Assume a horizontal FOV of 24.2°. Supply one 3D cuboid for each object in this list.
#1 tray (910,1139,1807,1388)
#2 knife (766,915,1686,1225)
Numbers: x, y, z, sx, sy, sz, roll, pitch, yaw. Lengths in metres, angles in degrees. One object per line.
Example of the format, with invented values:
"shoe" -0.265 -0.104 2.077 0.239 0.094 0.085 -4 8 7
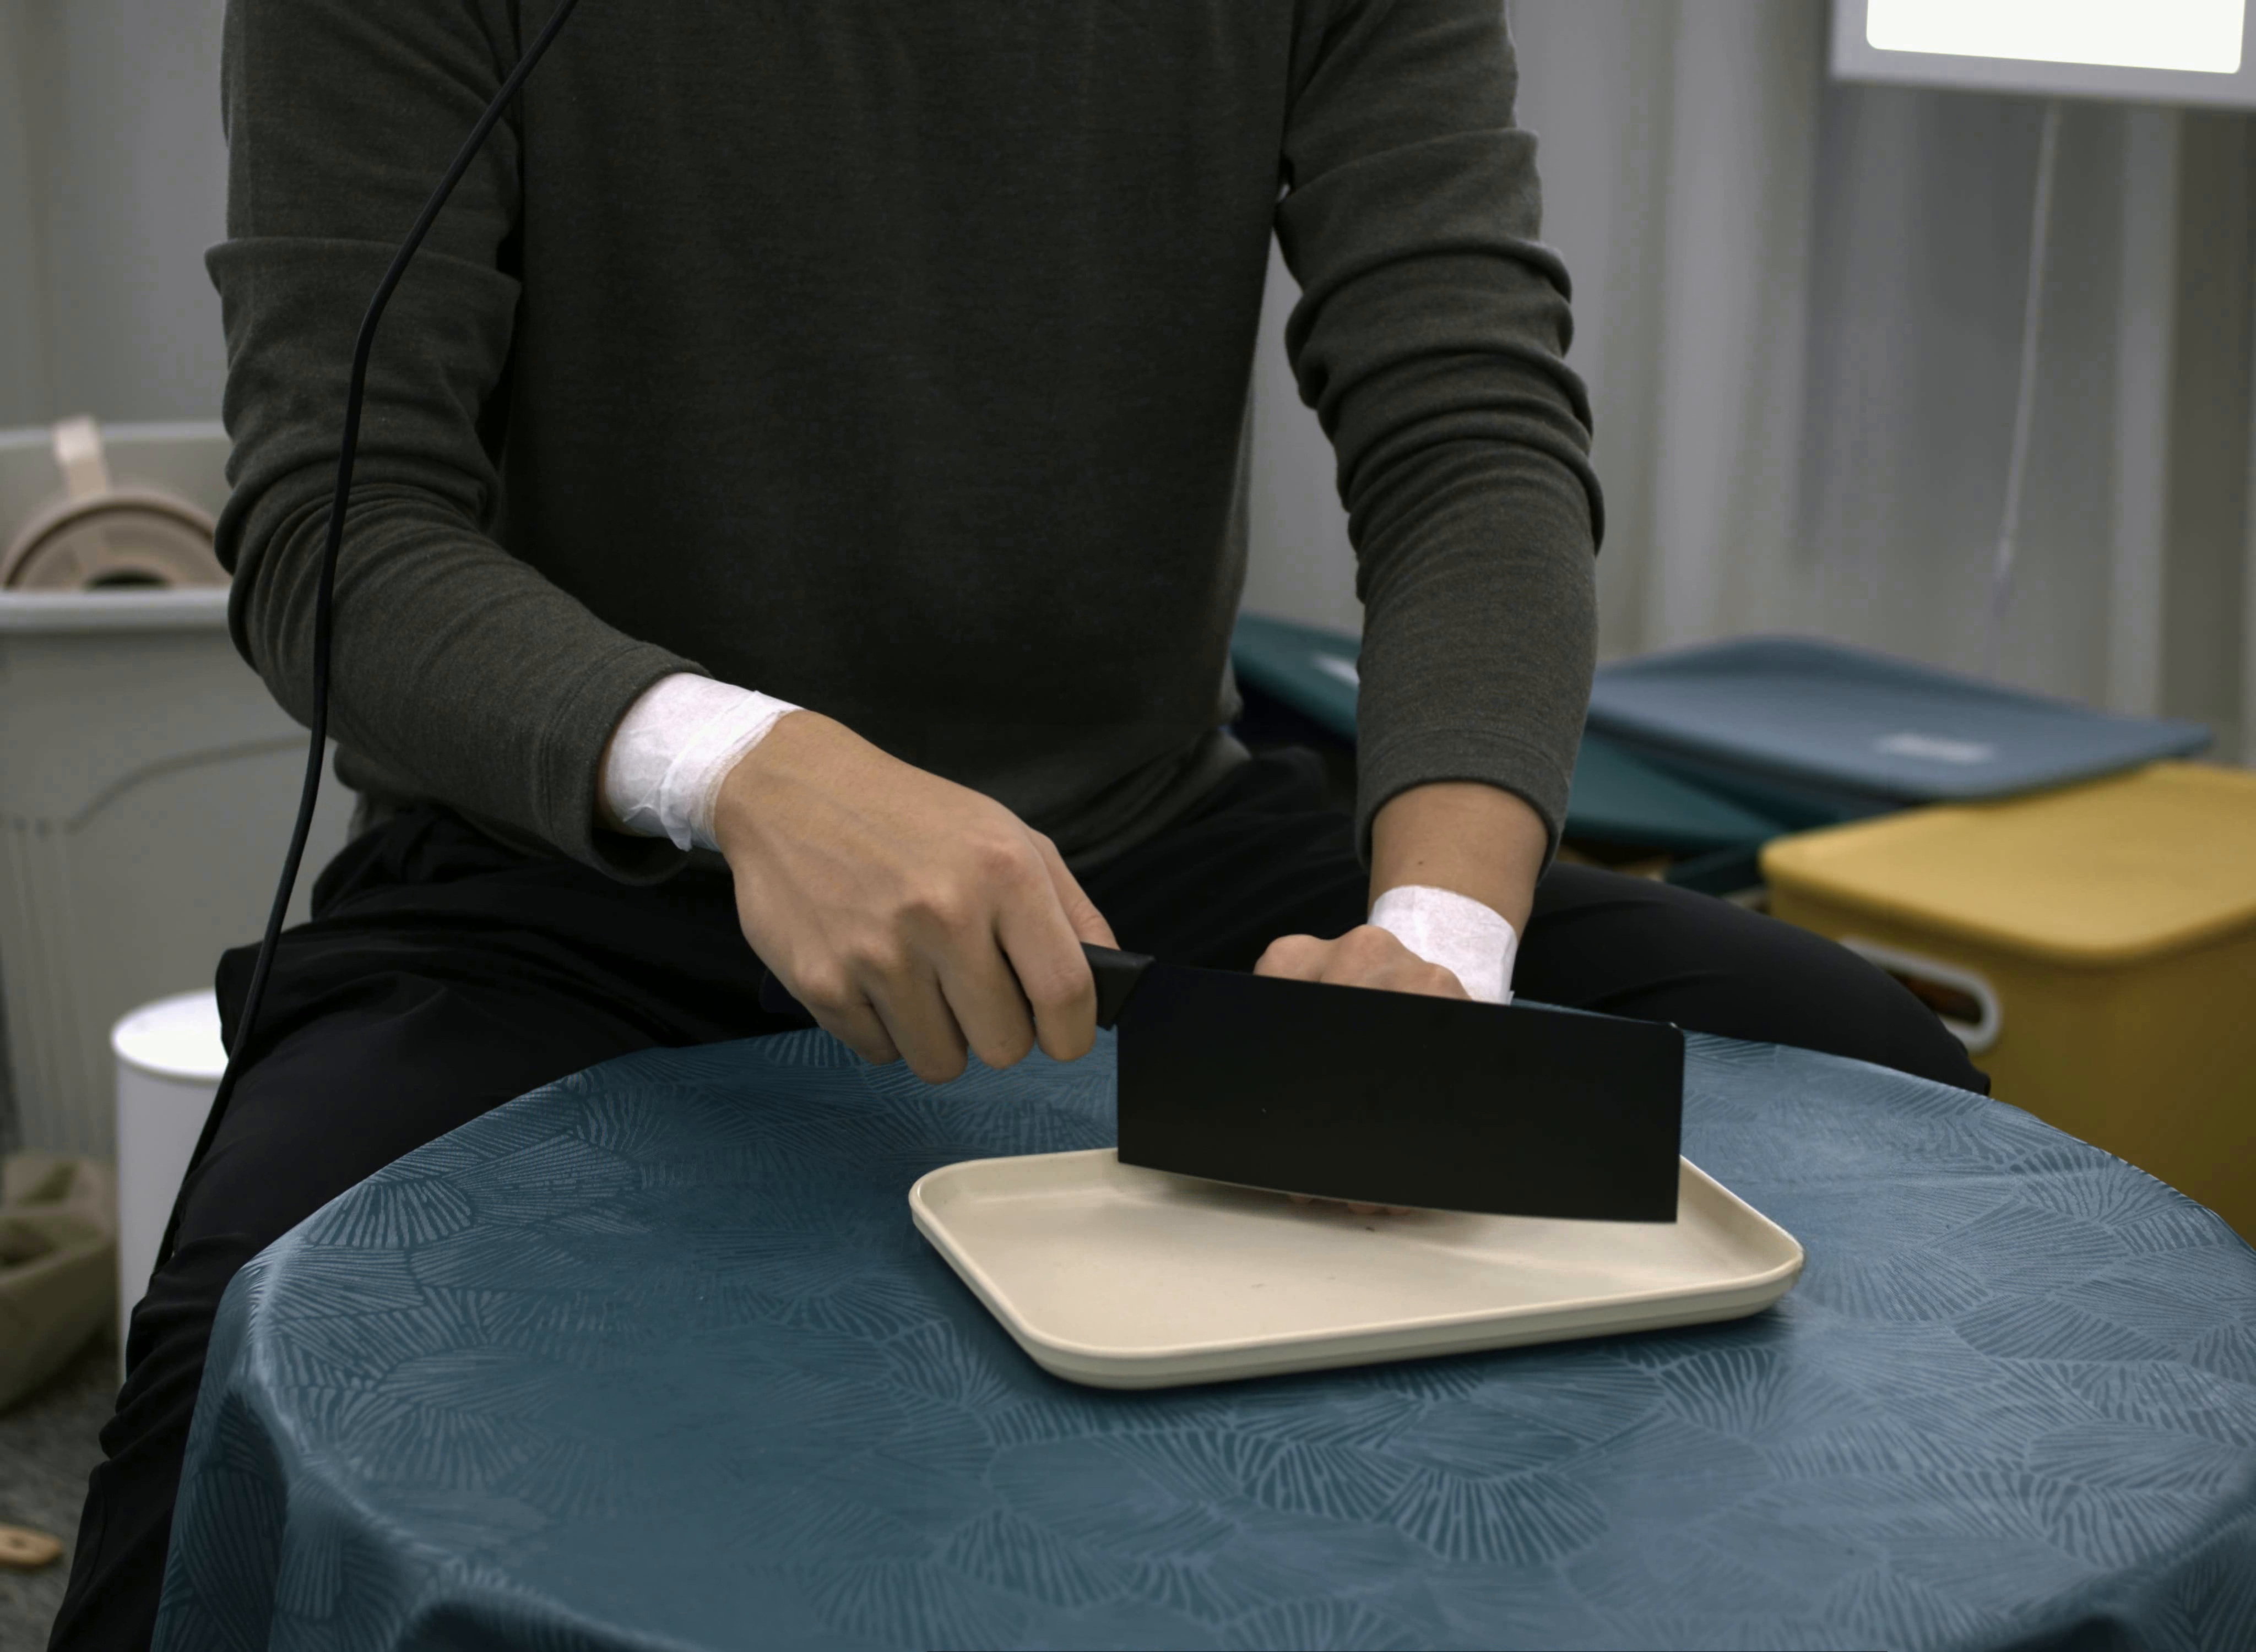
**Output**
"tray" 0.066 0.123 1.553 0.240 0.017 0.169 -5 16 -18
"knife" 0.026 0.070 1.586 0.299 0.081 0.021 11 15 22
